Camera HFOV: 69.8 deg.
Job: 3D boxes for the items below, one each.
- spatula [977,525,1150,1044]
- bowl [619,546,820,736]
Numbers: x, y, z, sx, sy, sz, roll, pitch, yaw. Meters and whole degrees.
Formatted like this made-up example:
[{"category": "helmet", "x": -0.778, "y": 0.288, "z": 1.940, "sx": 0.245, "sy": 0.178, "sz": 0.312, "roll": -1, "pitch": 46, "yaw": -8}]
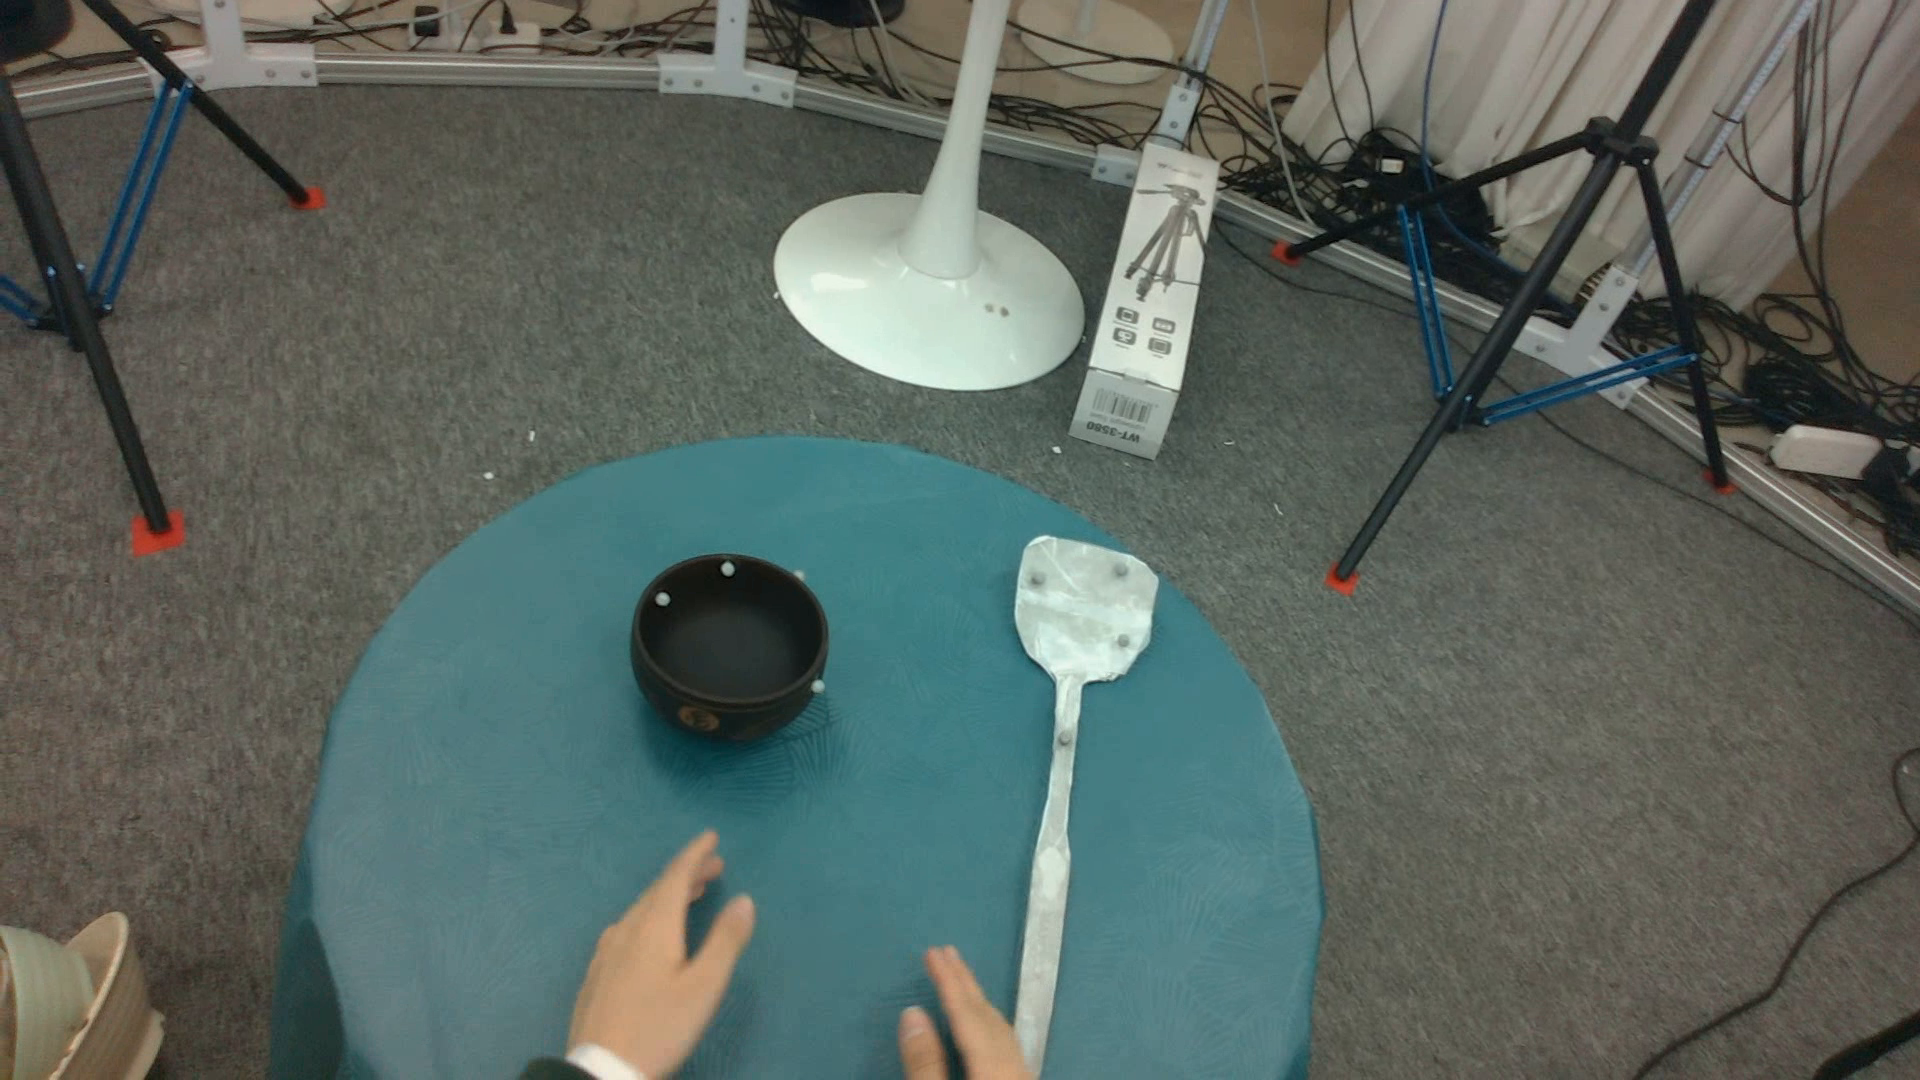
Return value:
[{"category": "spatula", "x": 0.055, "y": 0.134, "z": 0.853, "sx": 0.099, "sy": 0.044, "sz": 0.367, "roll": 17, "pitch": 45, "yaw": -3}, {"category": "bowl", "x": -0.146, "y": 0.068, "z": 0.832, "sx": 0.118, "sy": 0.069, "sz": 0.118, "roll": 8, "pitch": 46, "yaw": -8}]
